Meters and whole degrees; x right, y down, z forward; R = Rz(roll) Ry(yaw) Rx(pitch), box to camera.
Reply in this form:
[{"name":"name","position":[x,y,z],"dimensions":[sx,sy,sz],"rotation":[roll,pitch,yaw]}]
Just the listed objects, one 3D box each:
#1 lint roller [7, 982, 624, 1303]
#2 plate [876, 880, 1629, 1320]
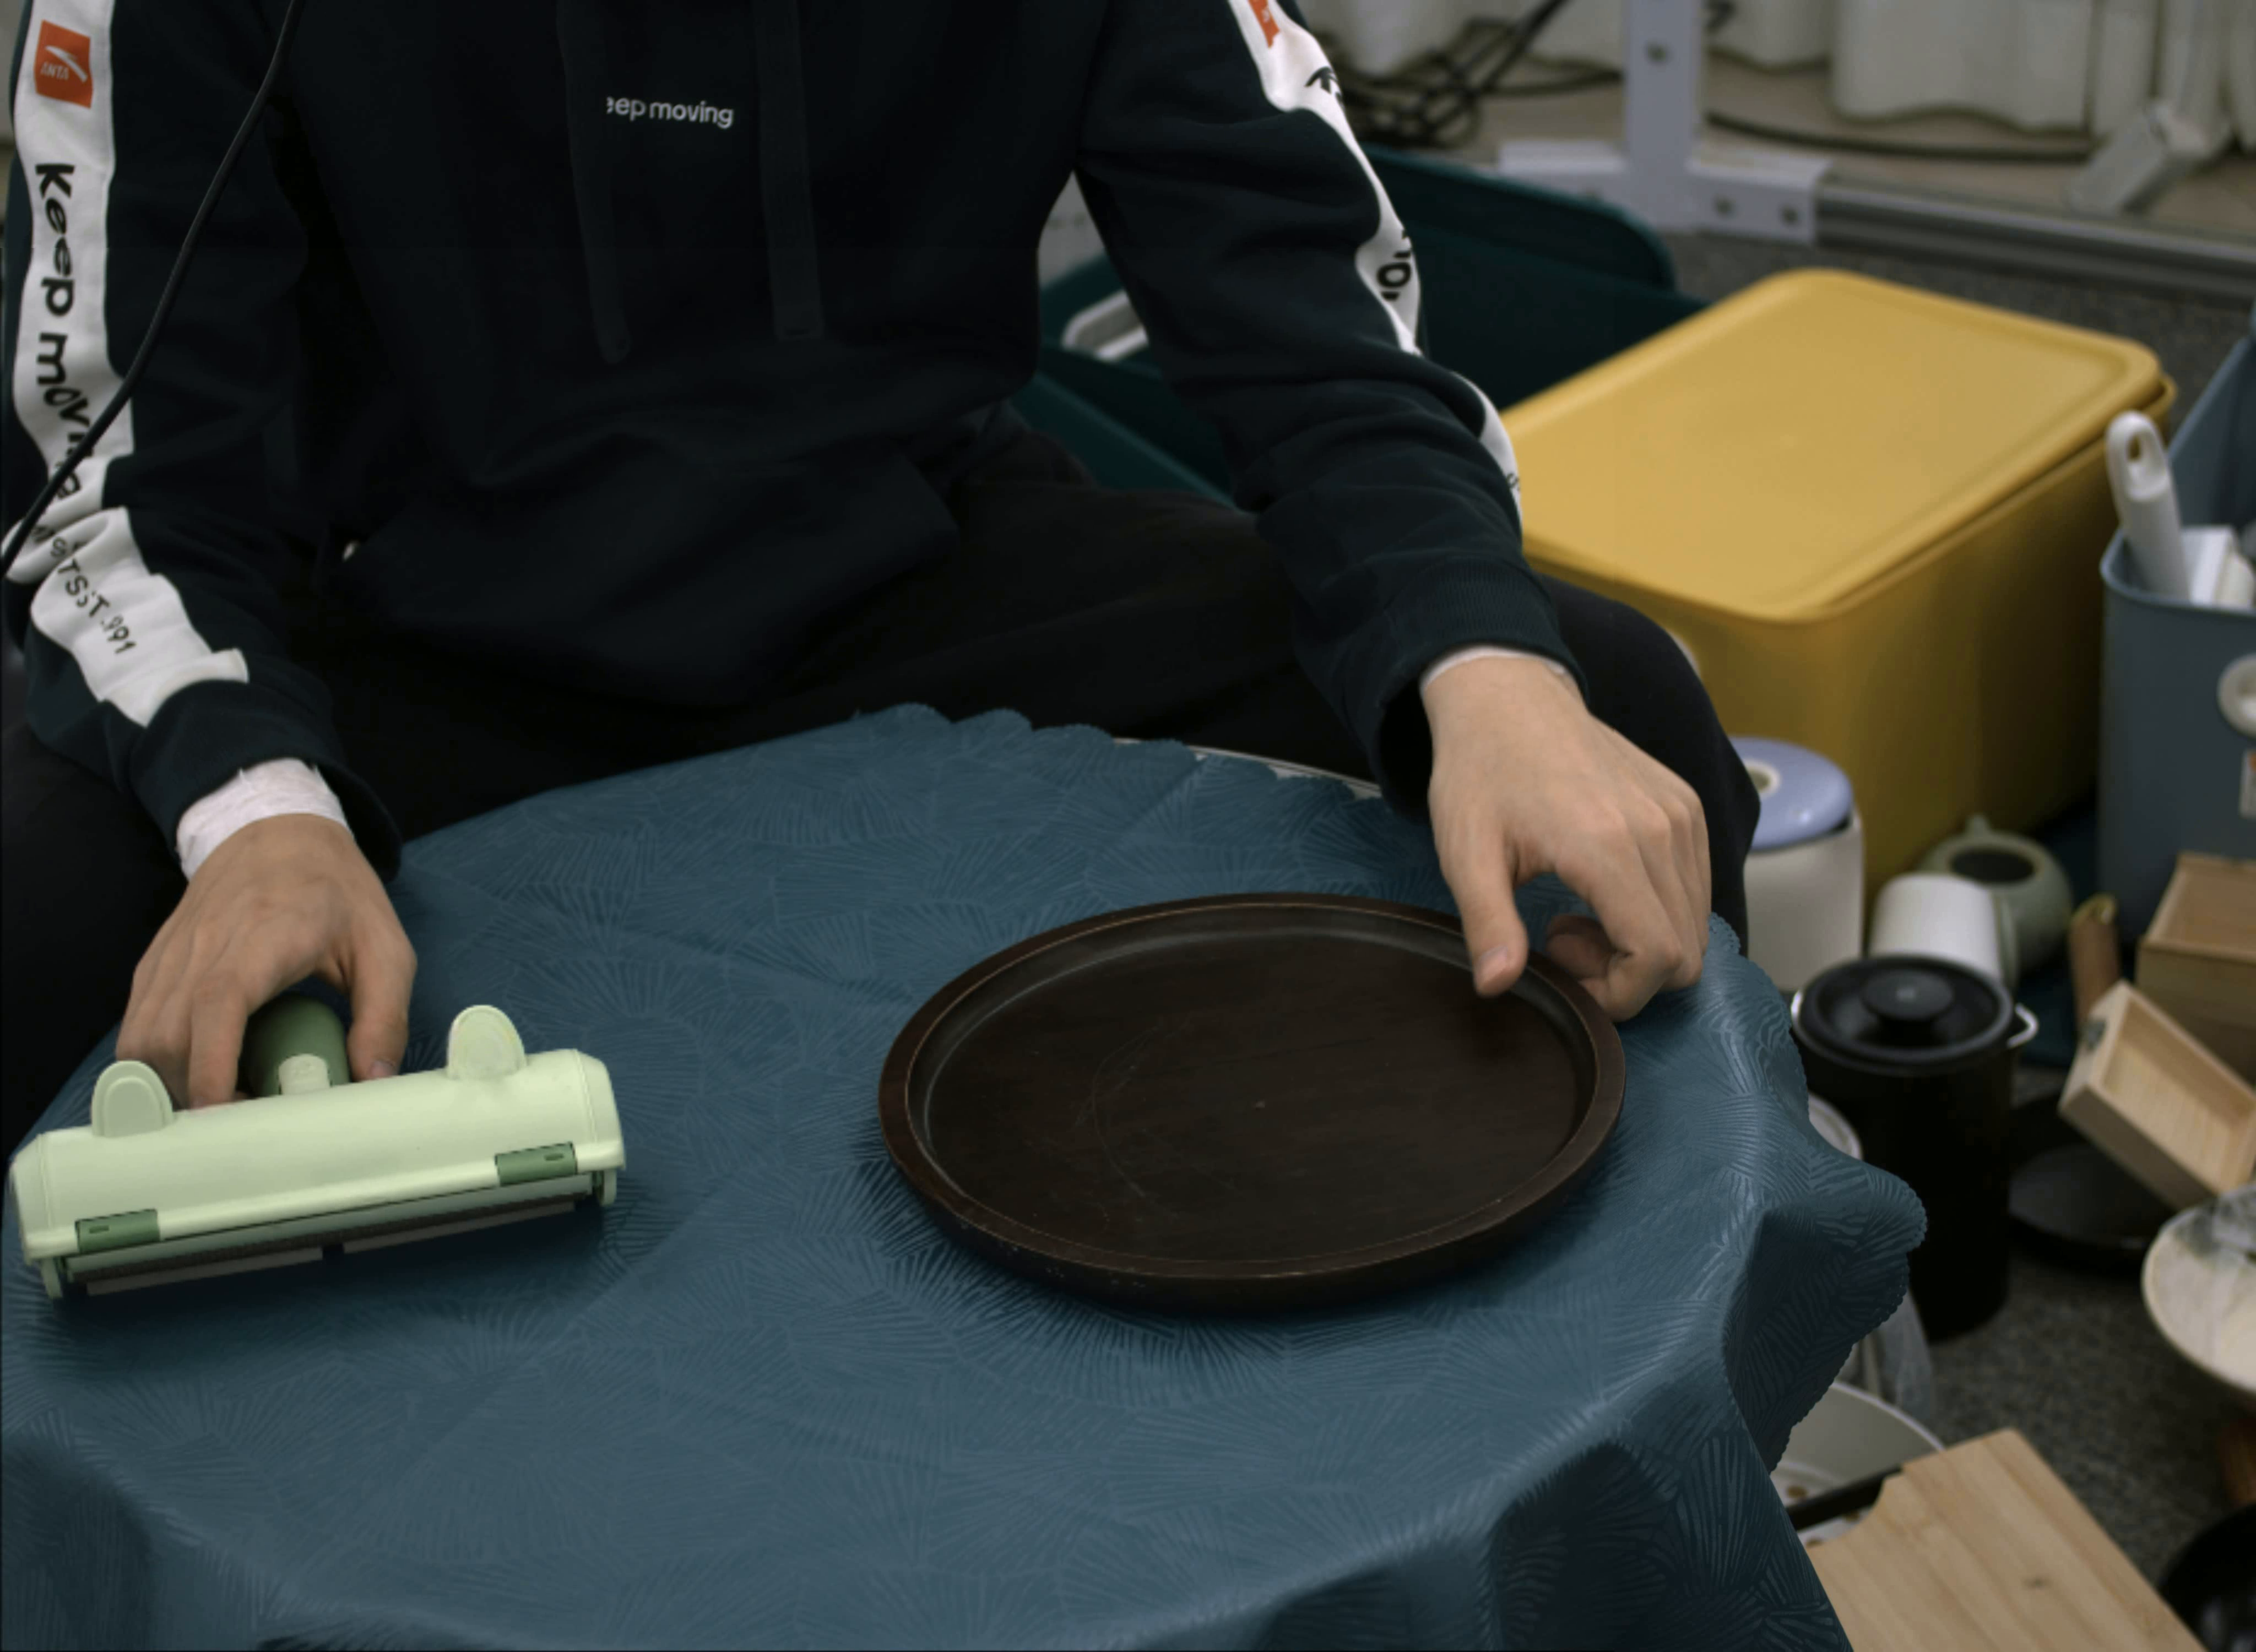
[{"name":"lint roller","position":[-0.278,0.081,1.880],"dimensions":[0.198,0.081,0.185],"rotation":[-9,31,-11]},{"name":"plate","position":[0.041,0.093,1.886],"dimensions":[0.253,0.029,0.259],"rotation":[-3,28,2]}]
